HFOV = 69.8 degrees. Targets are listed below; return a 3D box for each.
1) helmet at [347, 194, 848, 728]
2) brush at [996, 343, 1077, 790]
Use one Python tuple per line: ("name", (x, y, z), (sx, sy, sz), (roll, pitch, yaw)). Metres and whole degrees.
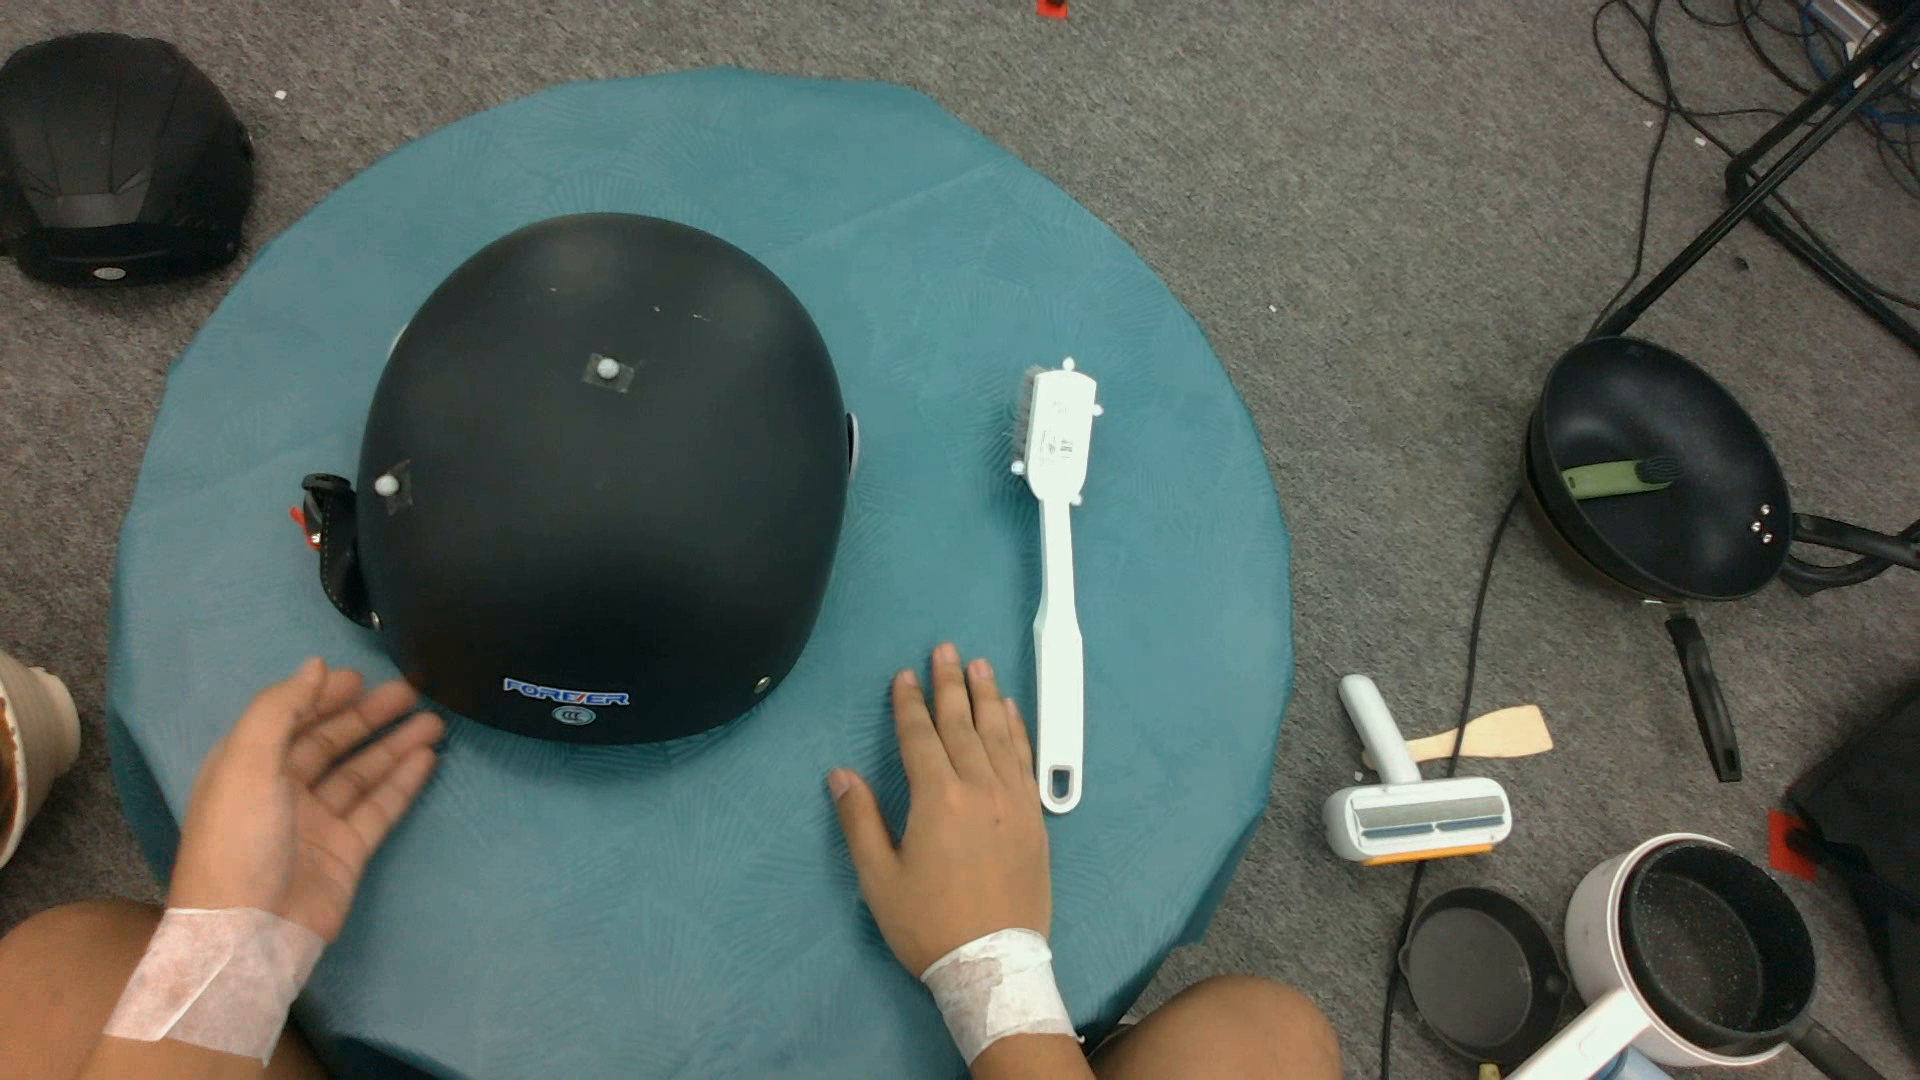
("helmet", (-0.164, -0.057, 0.641), (0.230, 0.166, 0.274), (13, 61, -10))
("brush", (0.041, 0.009, 0.734), (0.034, 0.050, 0.244), (3, 78, -16))
